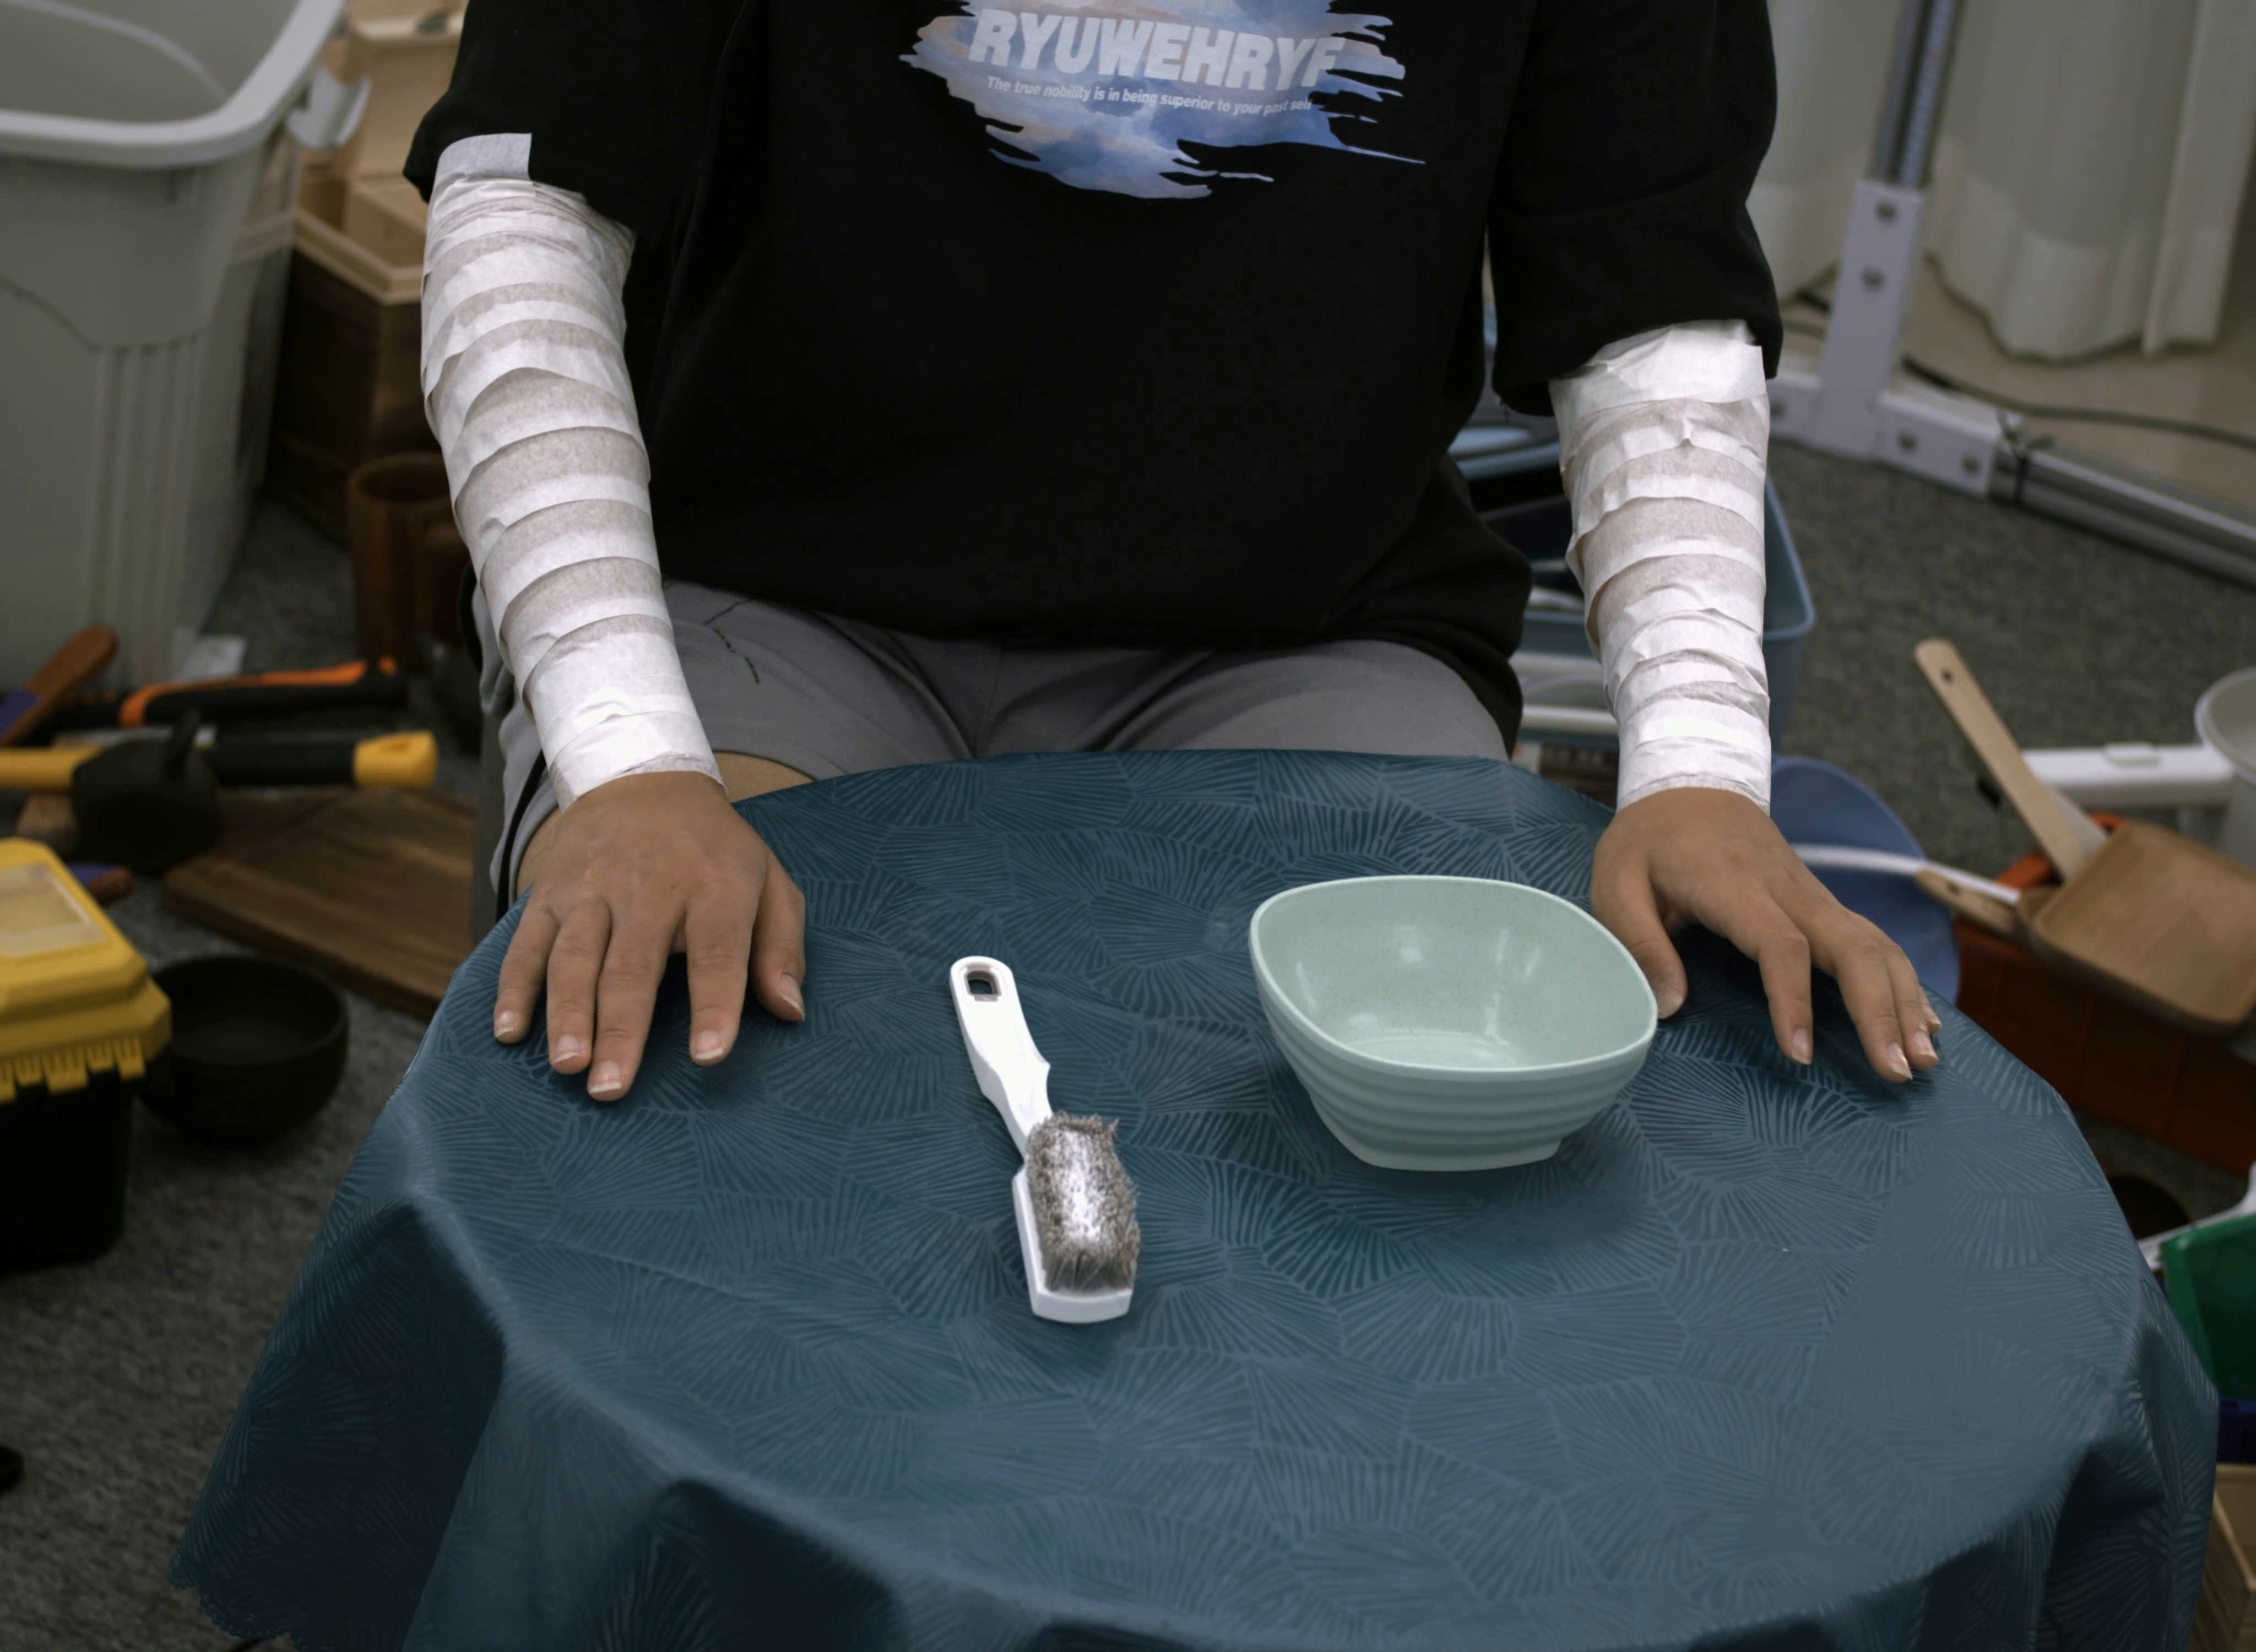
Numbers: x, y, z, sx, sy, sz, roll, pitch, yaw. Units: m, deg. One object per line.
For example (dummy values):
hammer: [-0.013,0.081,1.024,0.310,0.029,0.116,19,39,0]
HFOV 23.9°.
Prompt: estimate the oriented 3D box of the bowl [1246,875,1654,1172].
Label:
bowl: [0.108,0.075,1.863,0.151,0.058,0.152,6,27,-4]

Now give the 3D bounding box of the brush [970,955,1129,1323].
brush: [-0.029,0.089,1.811,0.034,0.050,0.245,0,27,-8]
